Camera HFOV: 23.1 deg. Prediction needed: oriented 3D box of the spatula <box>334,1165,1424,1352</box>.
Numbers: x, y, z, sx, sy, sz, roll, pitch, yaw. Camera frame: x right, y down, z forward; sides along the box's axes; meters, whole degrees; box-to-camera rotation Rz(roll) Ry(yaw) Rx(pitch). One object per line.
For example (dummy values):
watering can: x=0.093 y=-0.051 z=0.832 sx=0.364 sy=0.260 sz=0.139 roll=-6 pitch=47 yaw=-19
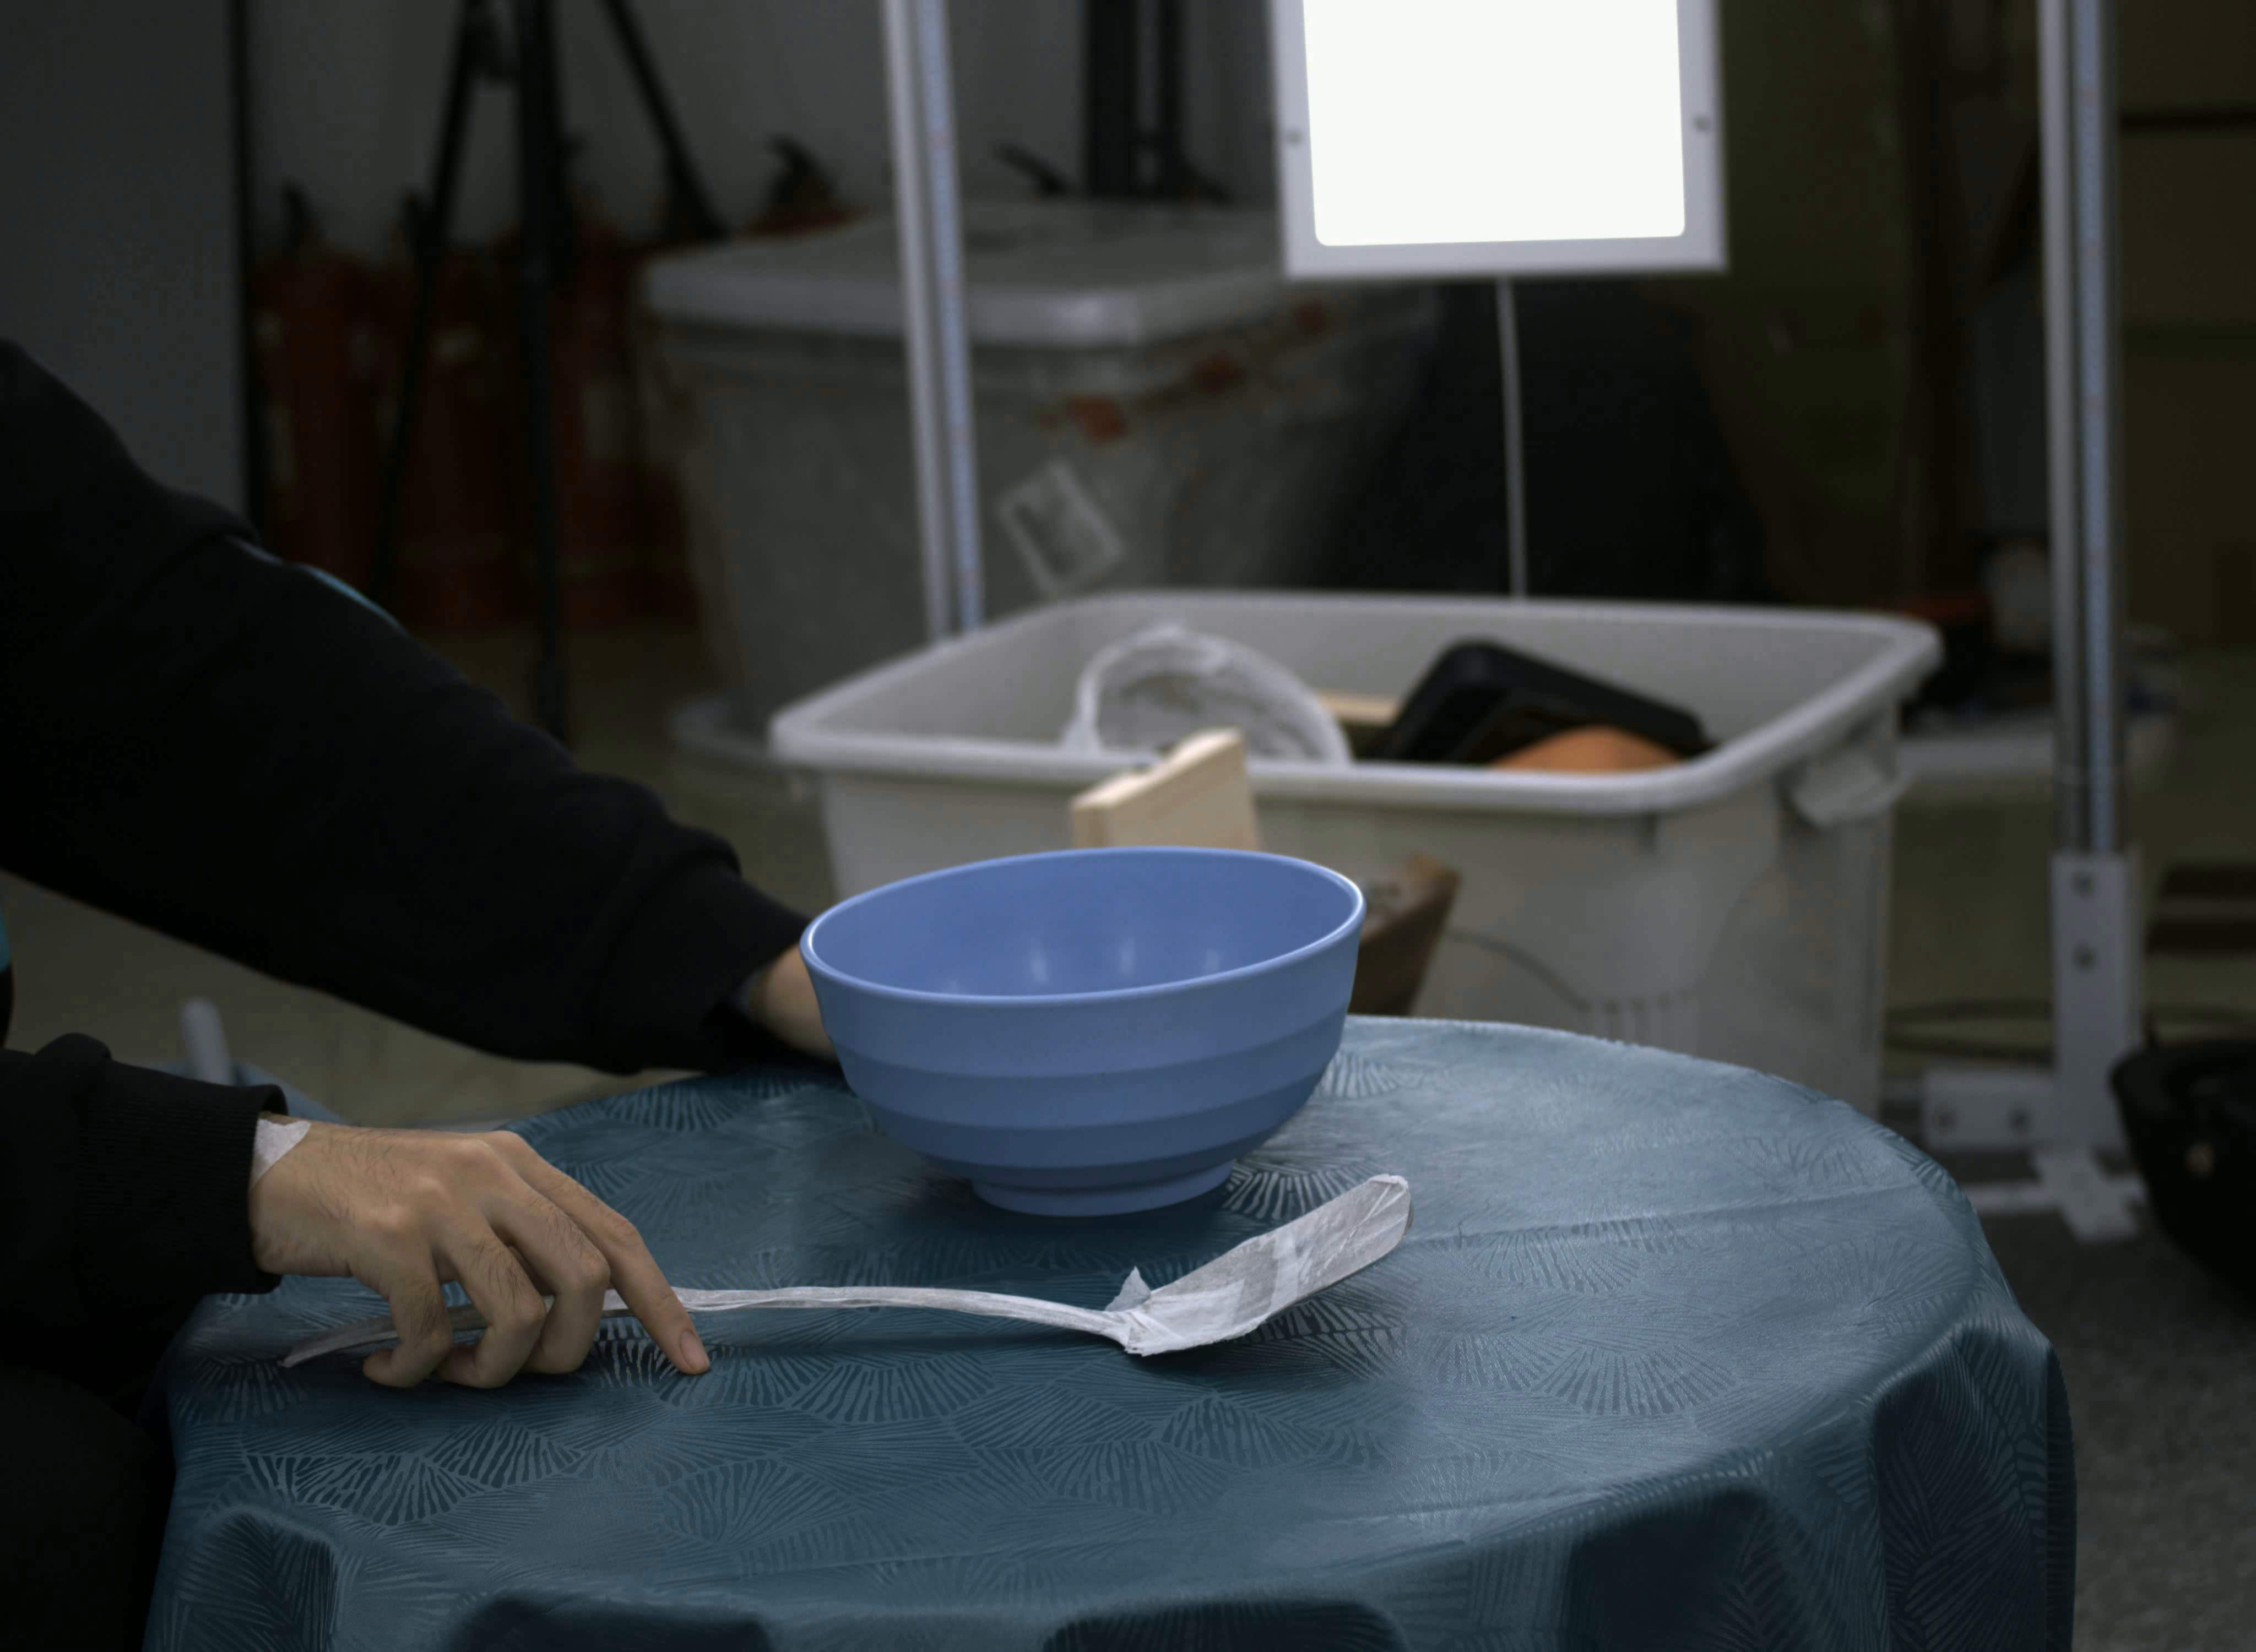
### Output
spatula: x=-0.085 y=0.146 z=1.767 sx=0.367 sy=0.045 sz=0.097 roll=-2 pitch=16 yaw=11

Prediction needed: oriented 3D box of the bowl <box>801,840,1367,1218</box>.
bowl: x=-0.012 y=0.076 z=1.907 sx=0.196 sy=0.096 sz=0.196 roll=-5 pitch=15 yaw=0
